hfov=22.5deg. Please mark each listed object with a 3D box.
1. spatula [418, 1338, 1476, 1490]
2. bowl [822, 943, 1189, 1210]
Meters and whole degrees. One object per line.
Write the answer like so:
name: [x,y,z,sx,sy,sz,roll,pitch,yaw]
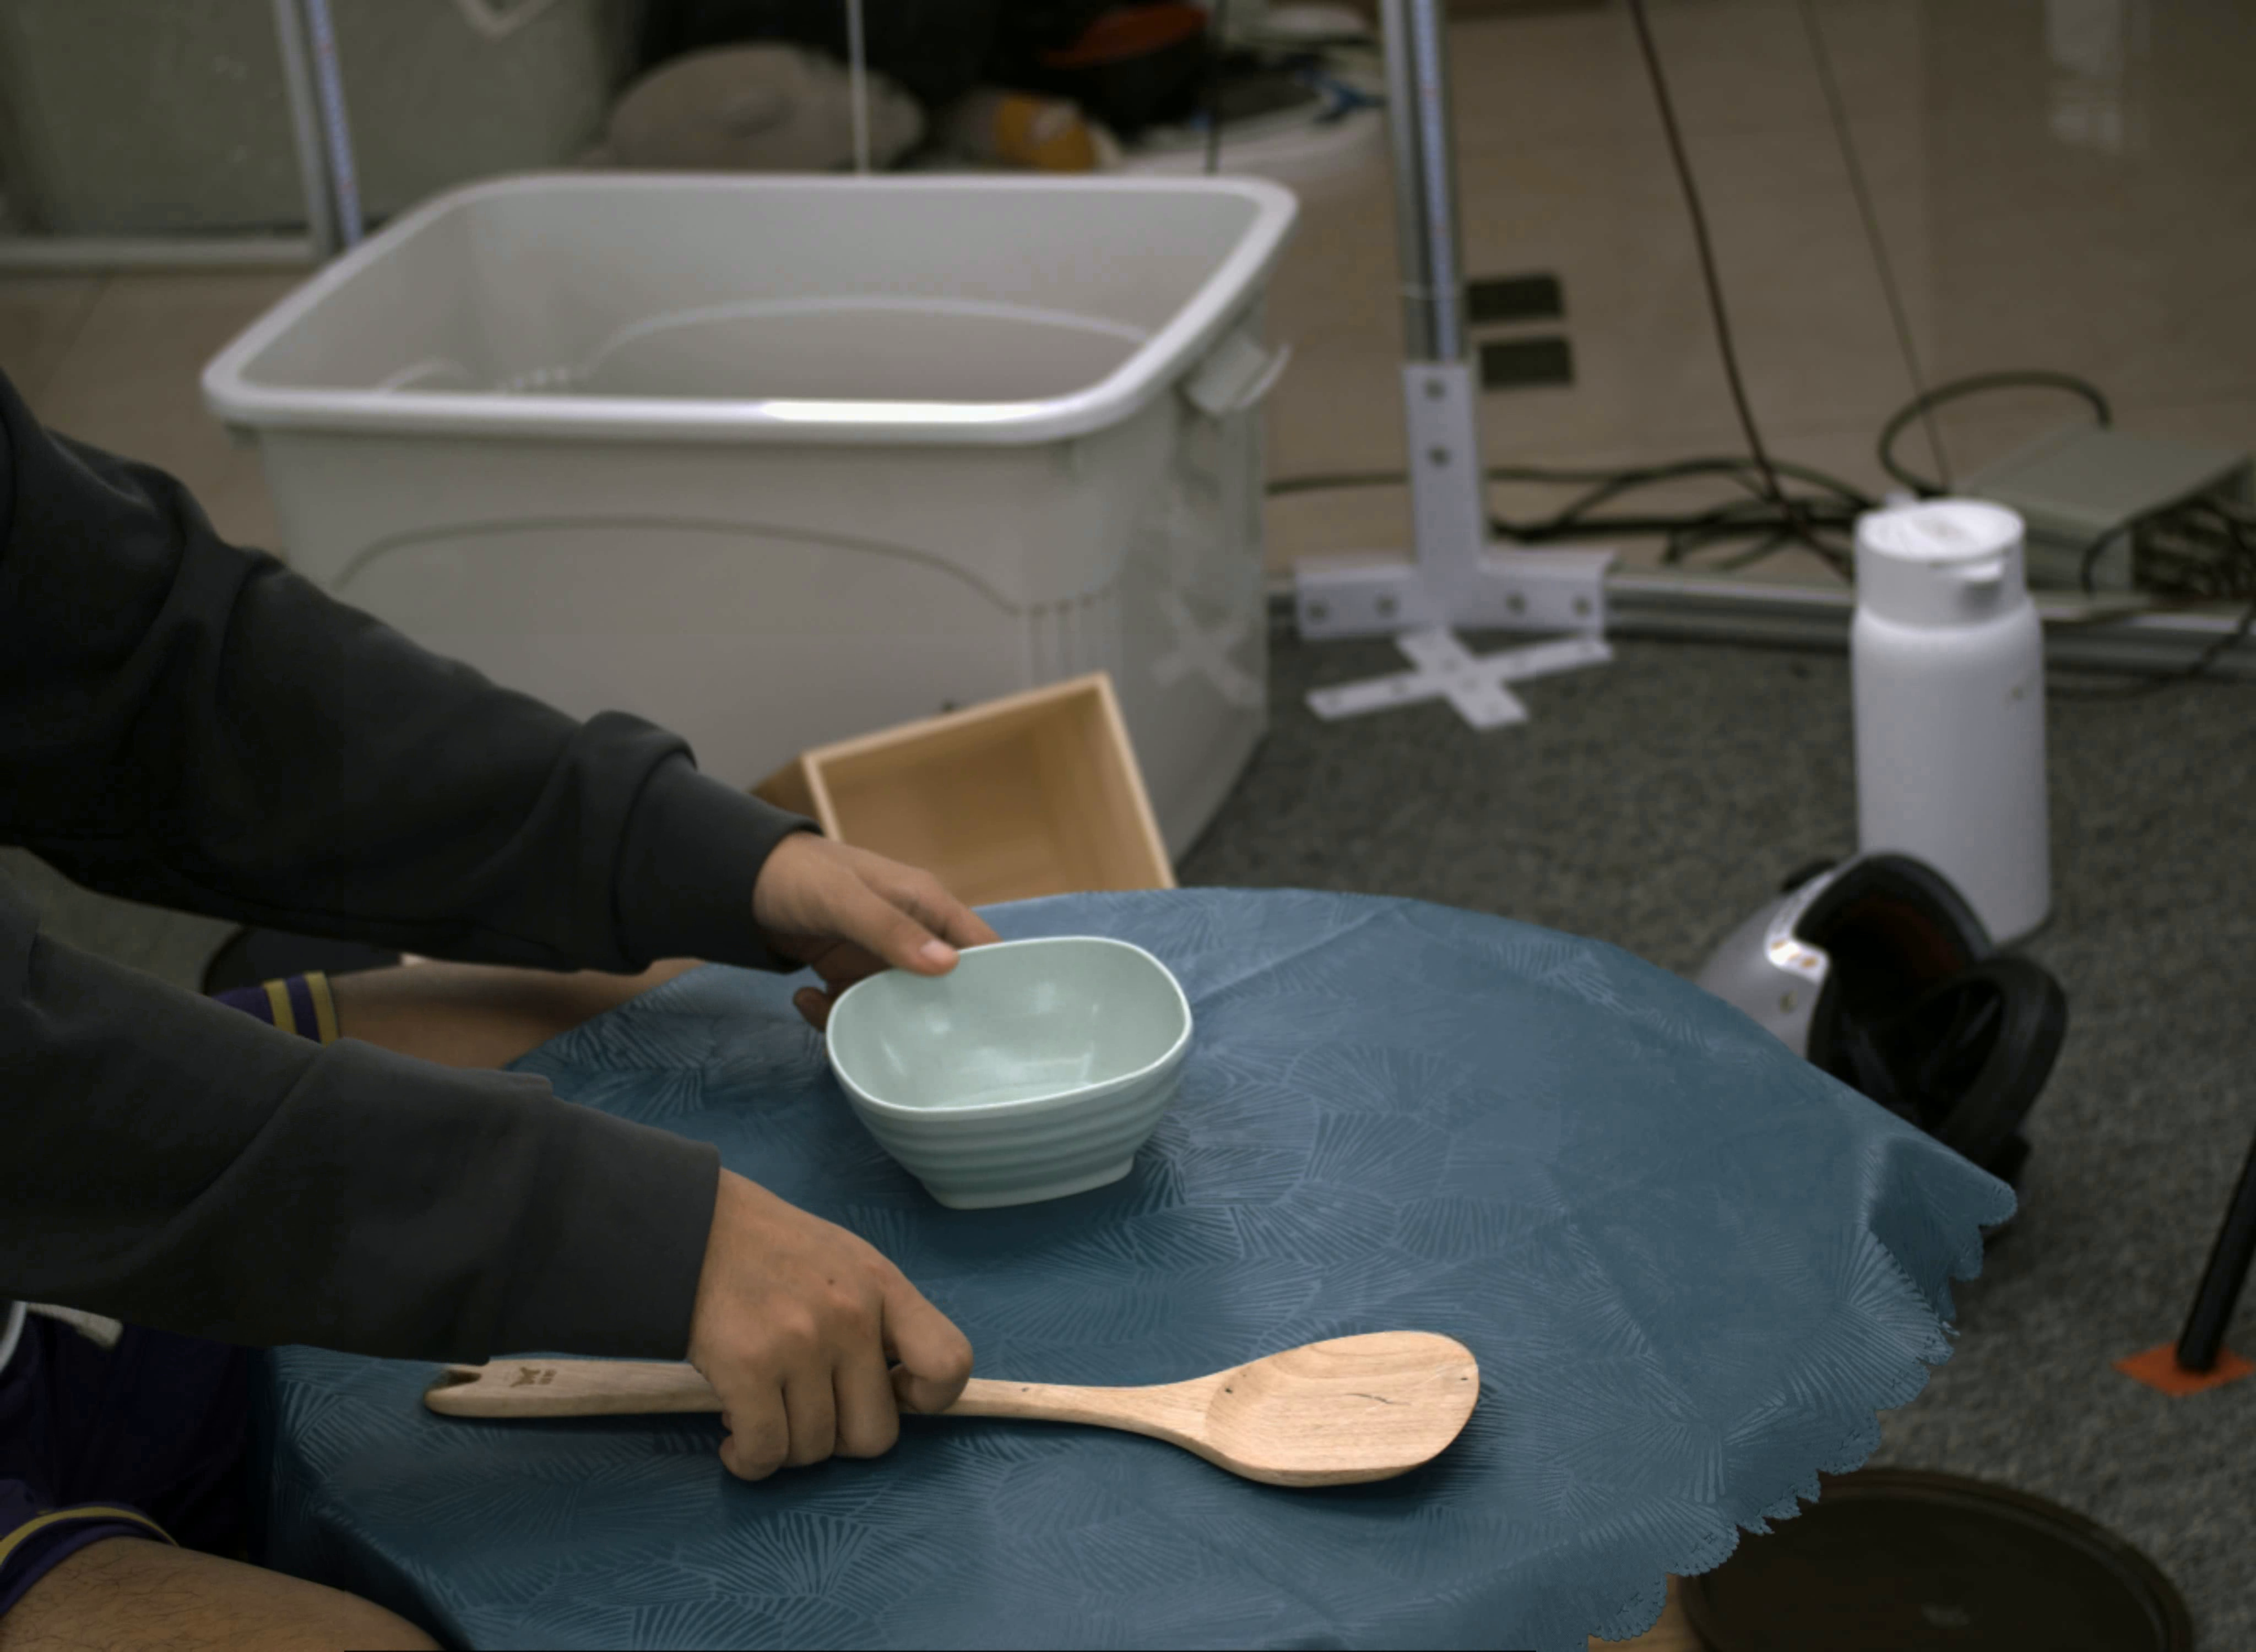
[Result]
spatula: [-0.070,0.204,2.004,0.390,0.019,0.094,1,24,15]
bowl: [-0.045,0.101,2.173,0.151,0.059,0.149,-4,25,2]
